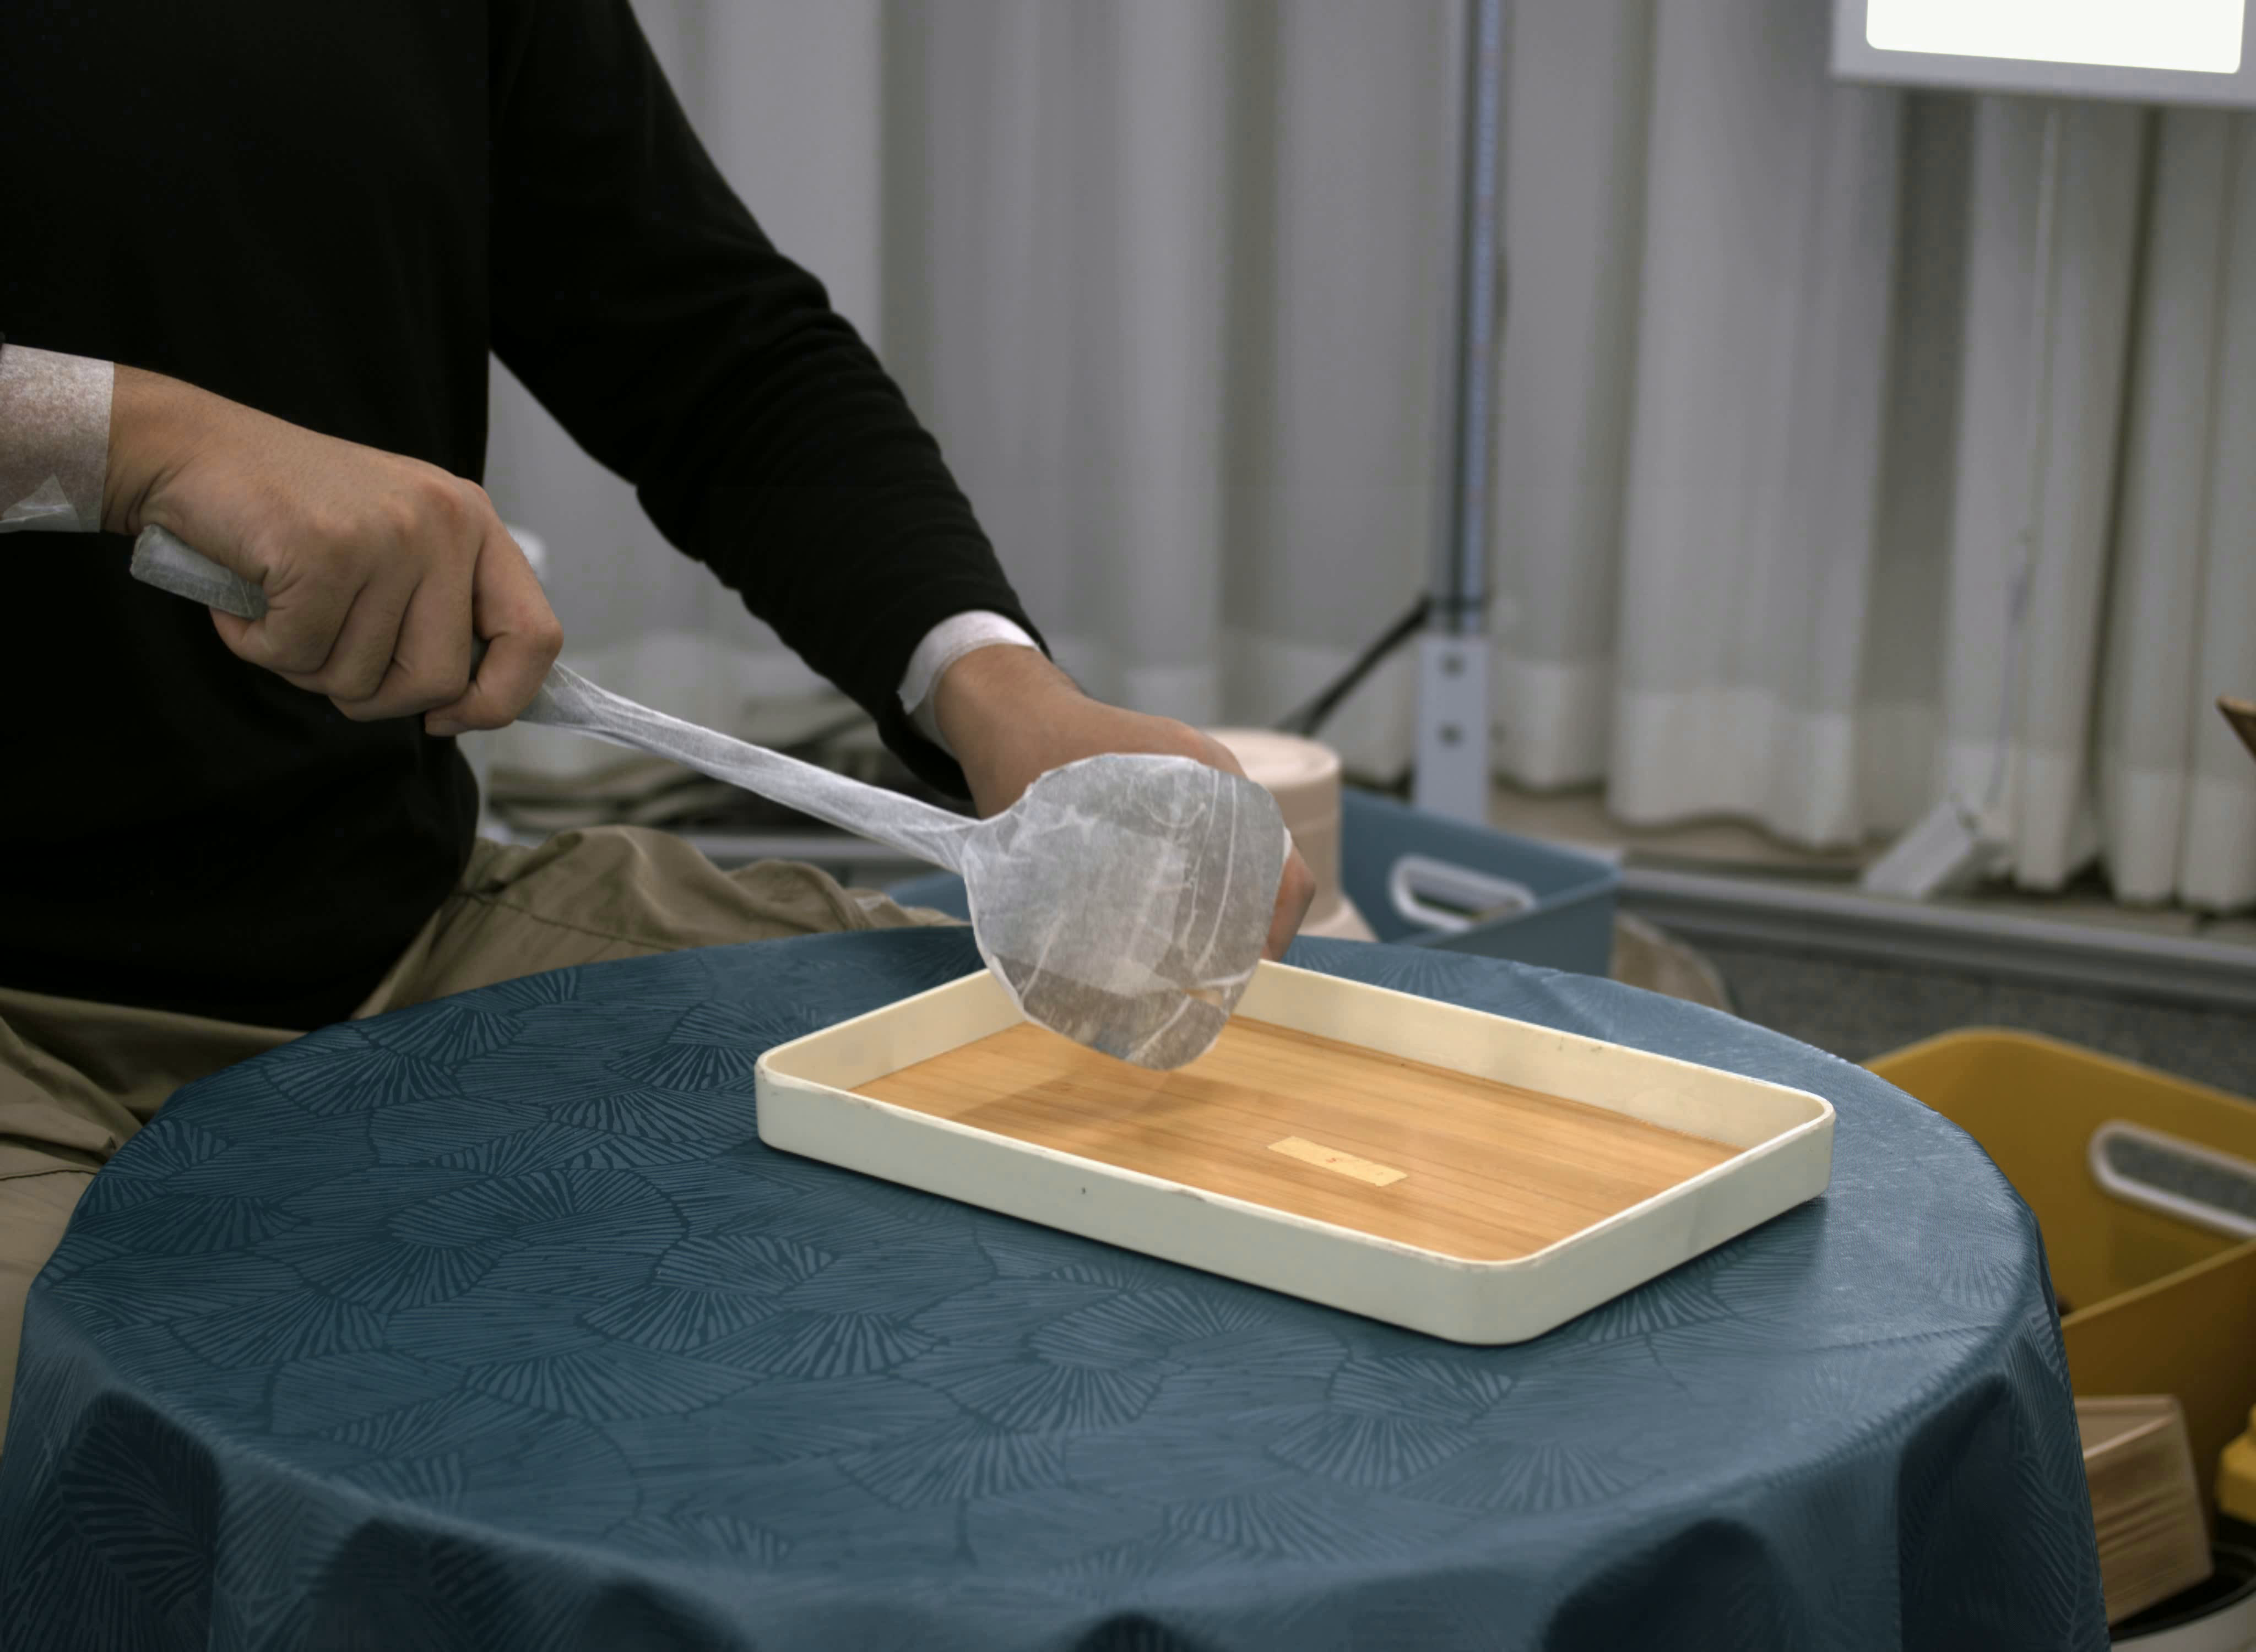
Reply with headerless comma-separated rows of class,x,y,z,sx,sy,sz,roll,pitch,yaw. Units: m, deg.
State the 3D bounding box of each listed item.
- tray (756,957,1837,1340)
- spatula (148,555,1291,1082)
tray,0.050,0.092,1.640,0.296,0.027,0.192,13,20,37
spatula,-0.122,-0.019,1.618,0.365,0.099,0.044,20,1,-8
